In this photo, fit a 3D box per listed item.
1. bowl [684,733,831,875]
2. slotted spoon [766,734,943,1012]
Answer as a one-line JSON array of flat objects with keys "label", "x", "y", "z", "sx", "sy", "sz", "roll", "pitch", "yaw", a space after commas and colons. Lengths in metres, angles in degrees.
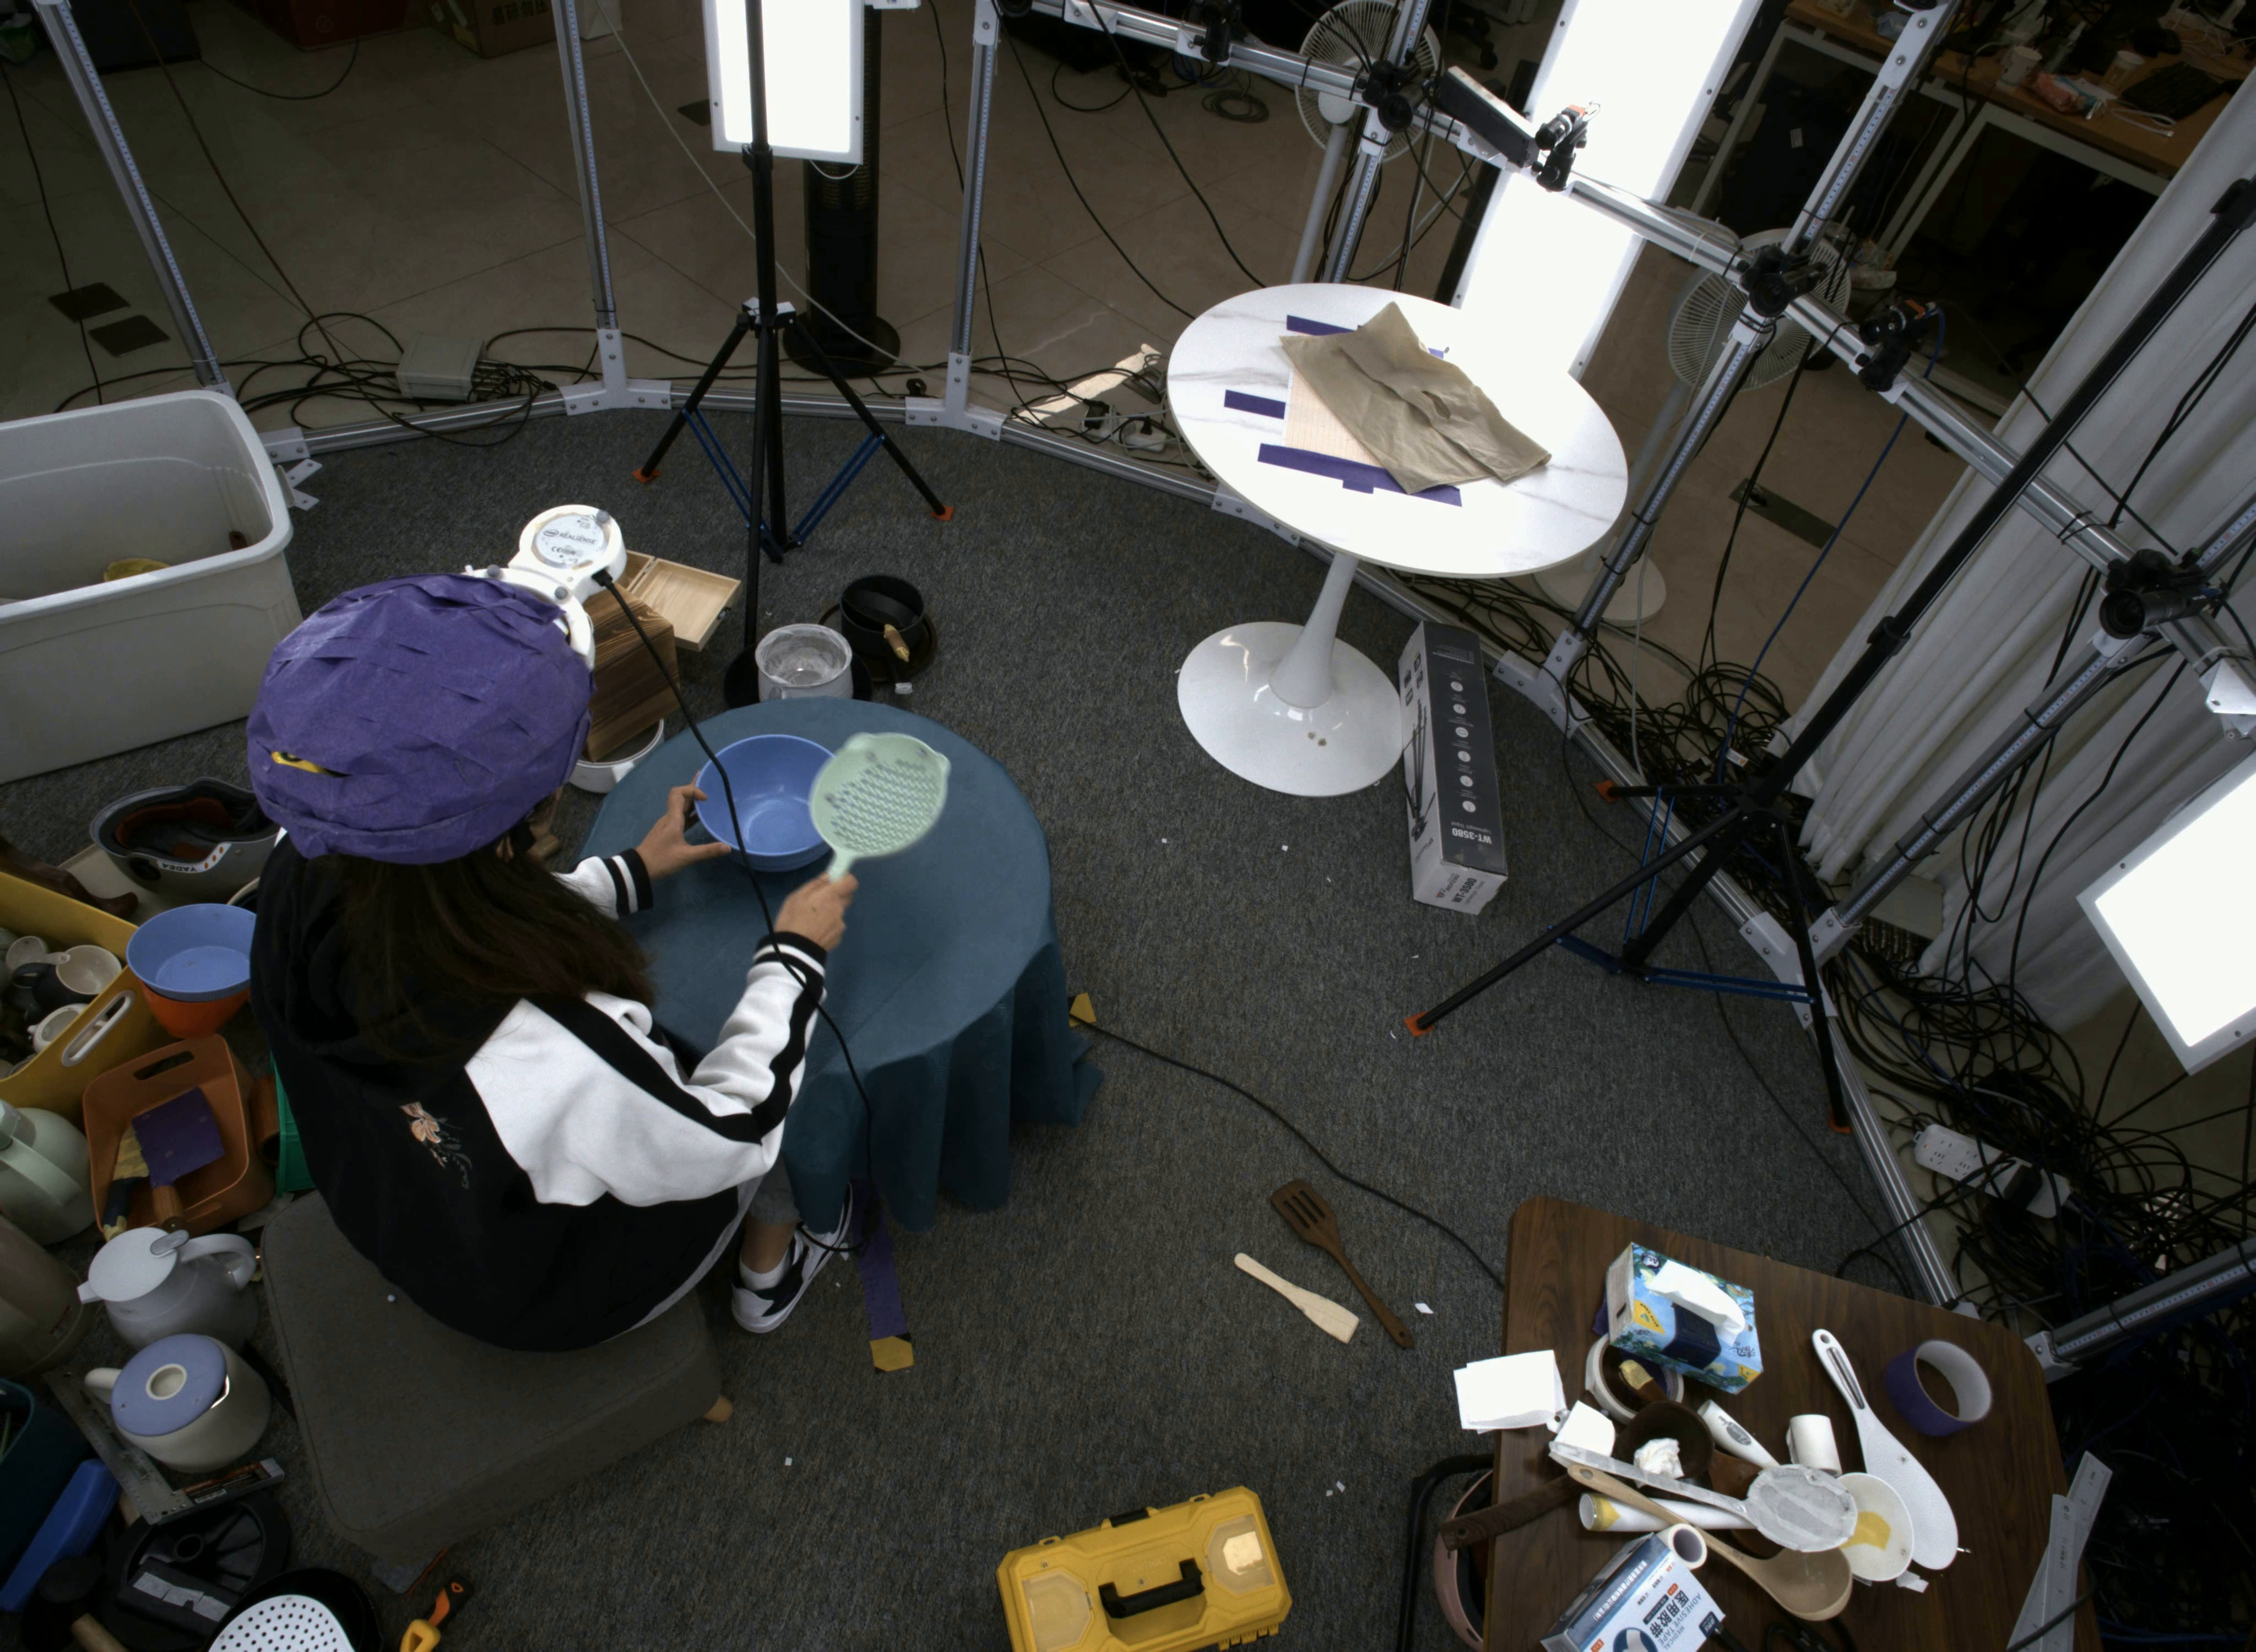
[{"label": "bowl", "x": -0.463, "y": -0.013, "z": 1.657, "sx": 0.196, "sy": 0.097, "sz": 0.193, "roll": 8, "pitch": 53, "yaw": -9}, {"label": "slotted spoon", "x": -0.340, "y": 0.050, "z": 1.530, "sx": 0.165, "sy": 0.078, "sz": 0.356, "roll": 16, "pitch": 57, "yaw": 17}]
